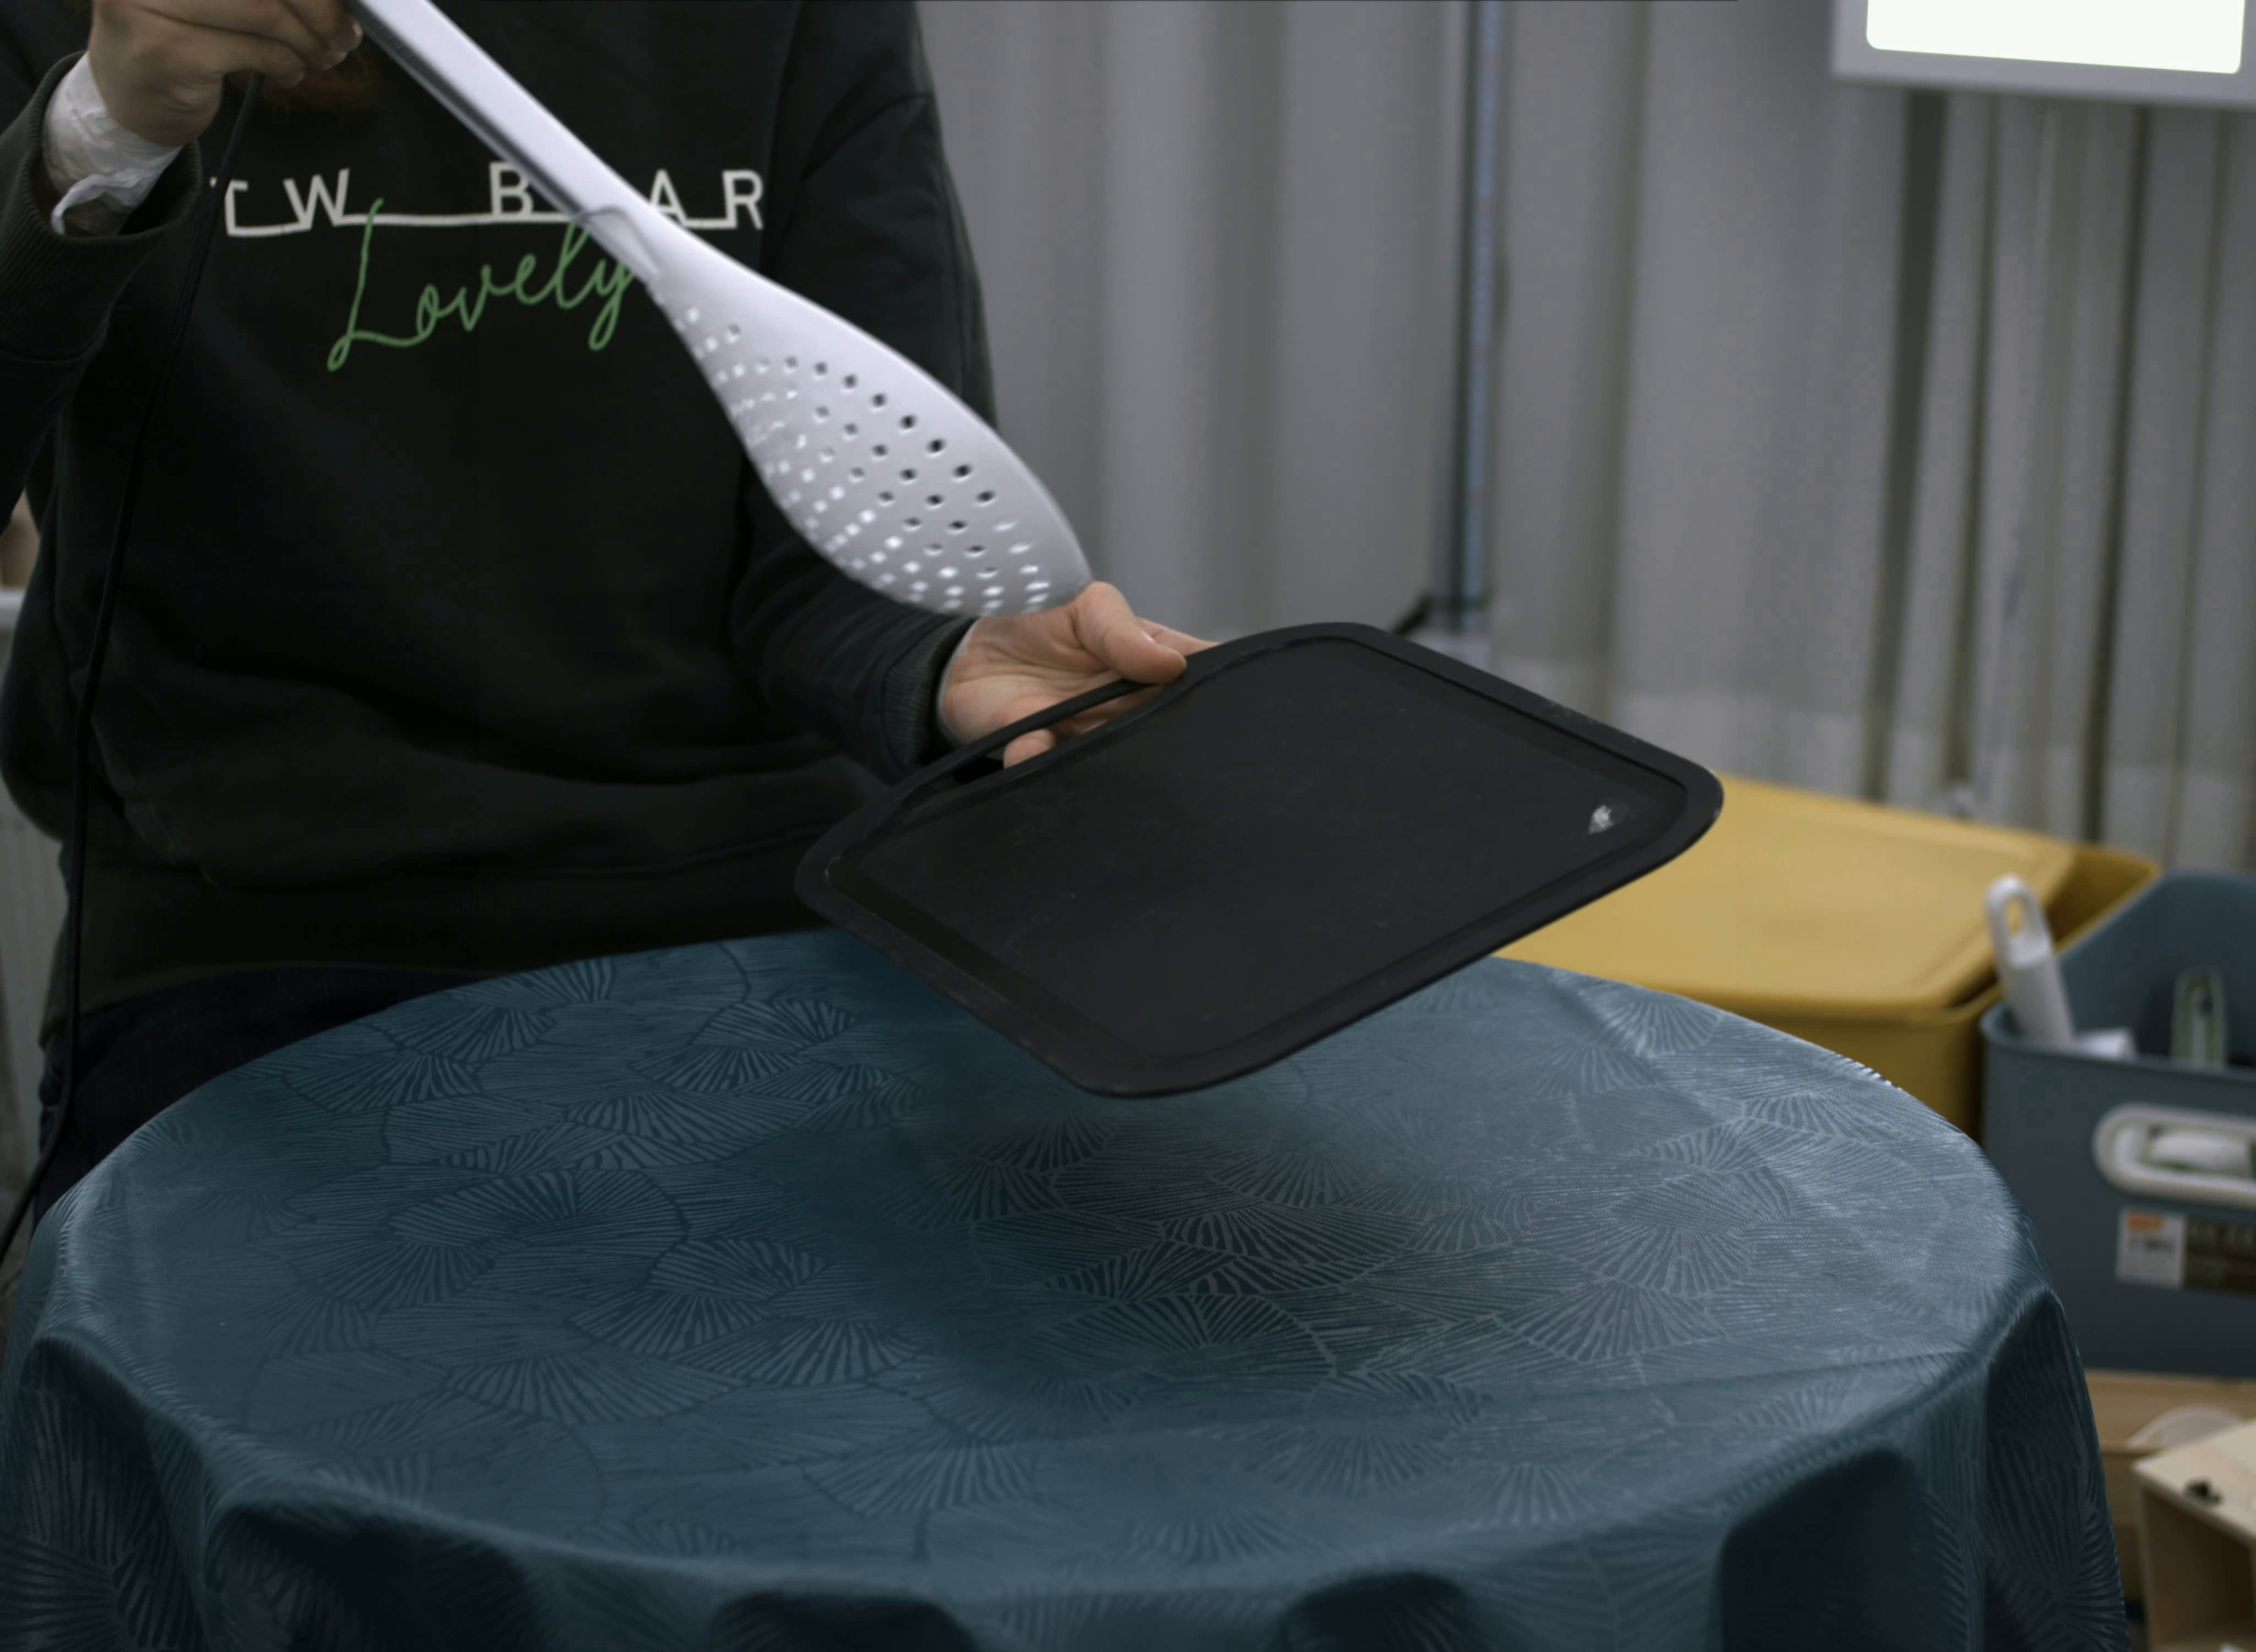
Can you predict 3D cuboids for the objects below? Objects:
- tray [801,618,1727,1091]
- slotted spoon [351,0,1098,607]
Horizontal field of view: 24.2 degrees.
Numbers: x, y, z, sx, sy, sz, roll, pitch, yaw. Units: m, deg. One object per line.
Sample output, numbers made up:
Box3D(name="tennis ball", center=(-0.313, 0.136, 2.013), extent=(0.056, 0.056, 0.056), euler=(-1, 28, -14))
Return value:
Box3D(name="tray", center=(0.029, 0.000, 1.583), extent=(0.211, 0.010, 0.321), euler=(-26, 22, -17))
Box3D(name="slotted spoon", center=(-0.147, -0.184, 1.600), extent=(0.046, 0.351, 0.135), euler=(-47, 10, -19))
